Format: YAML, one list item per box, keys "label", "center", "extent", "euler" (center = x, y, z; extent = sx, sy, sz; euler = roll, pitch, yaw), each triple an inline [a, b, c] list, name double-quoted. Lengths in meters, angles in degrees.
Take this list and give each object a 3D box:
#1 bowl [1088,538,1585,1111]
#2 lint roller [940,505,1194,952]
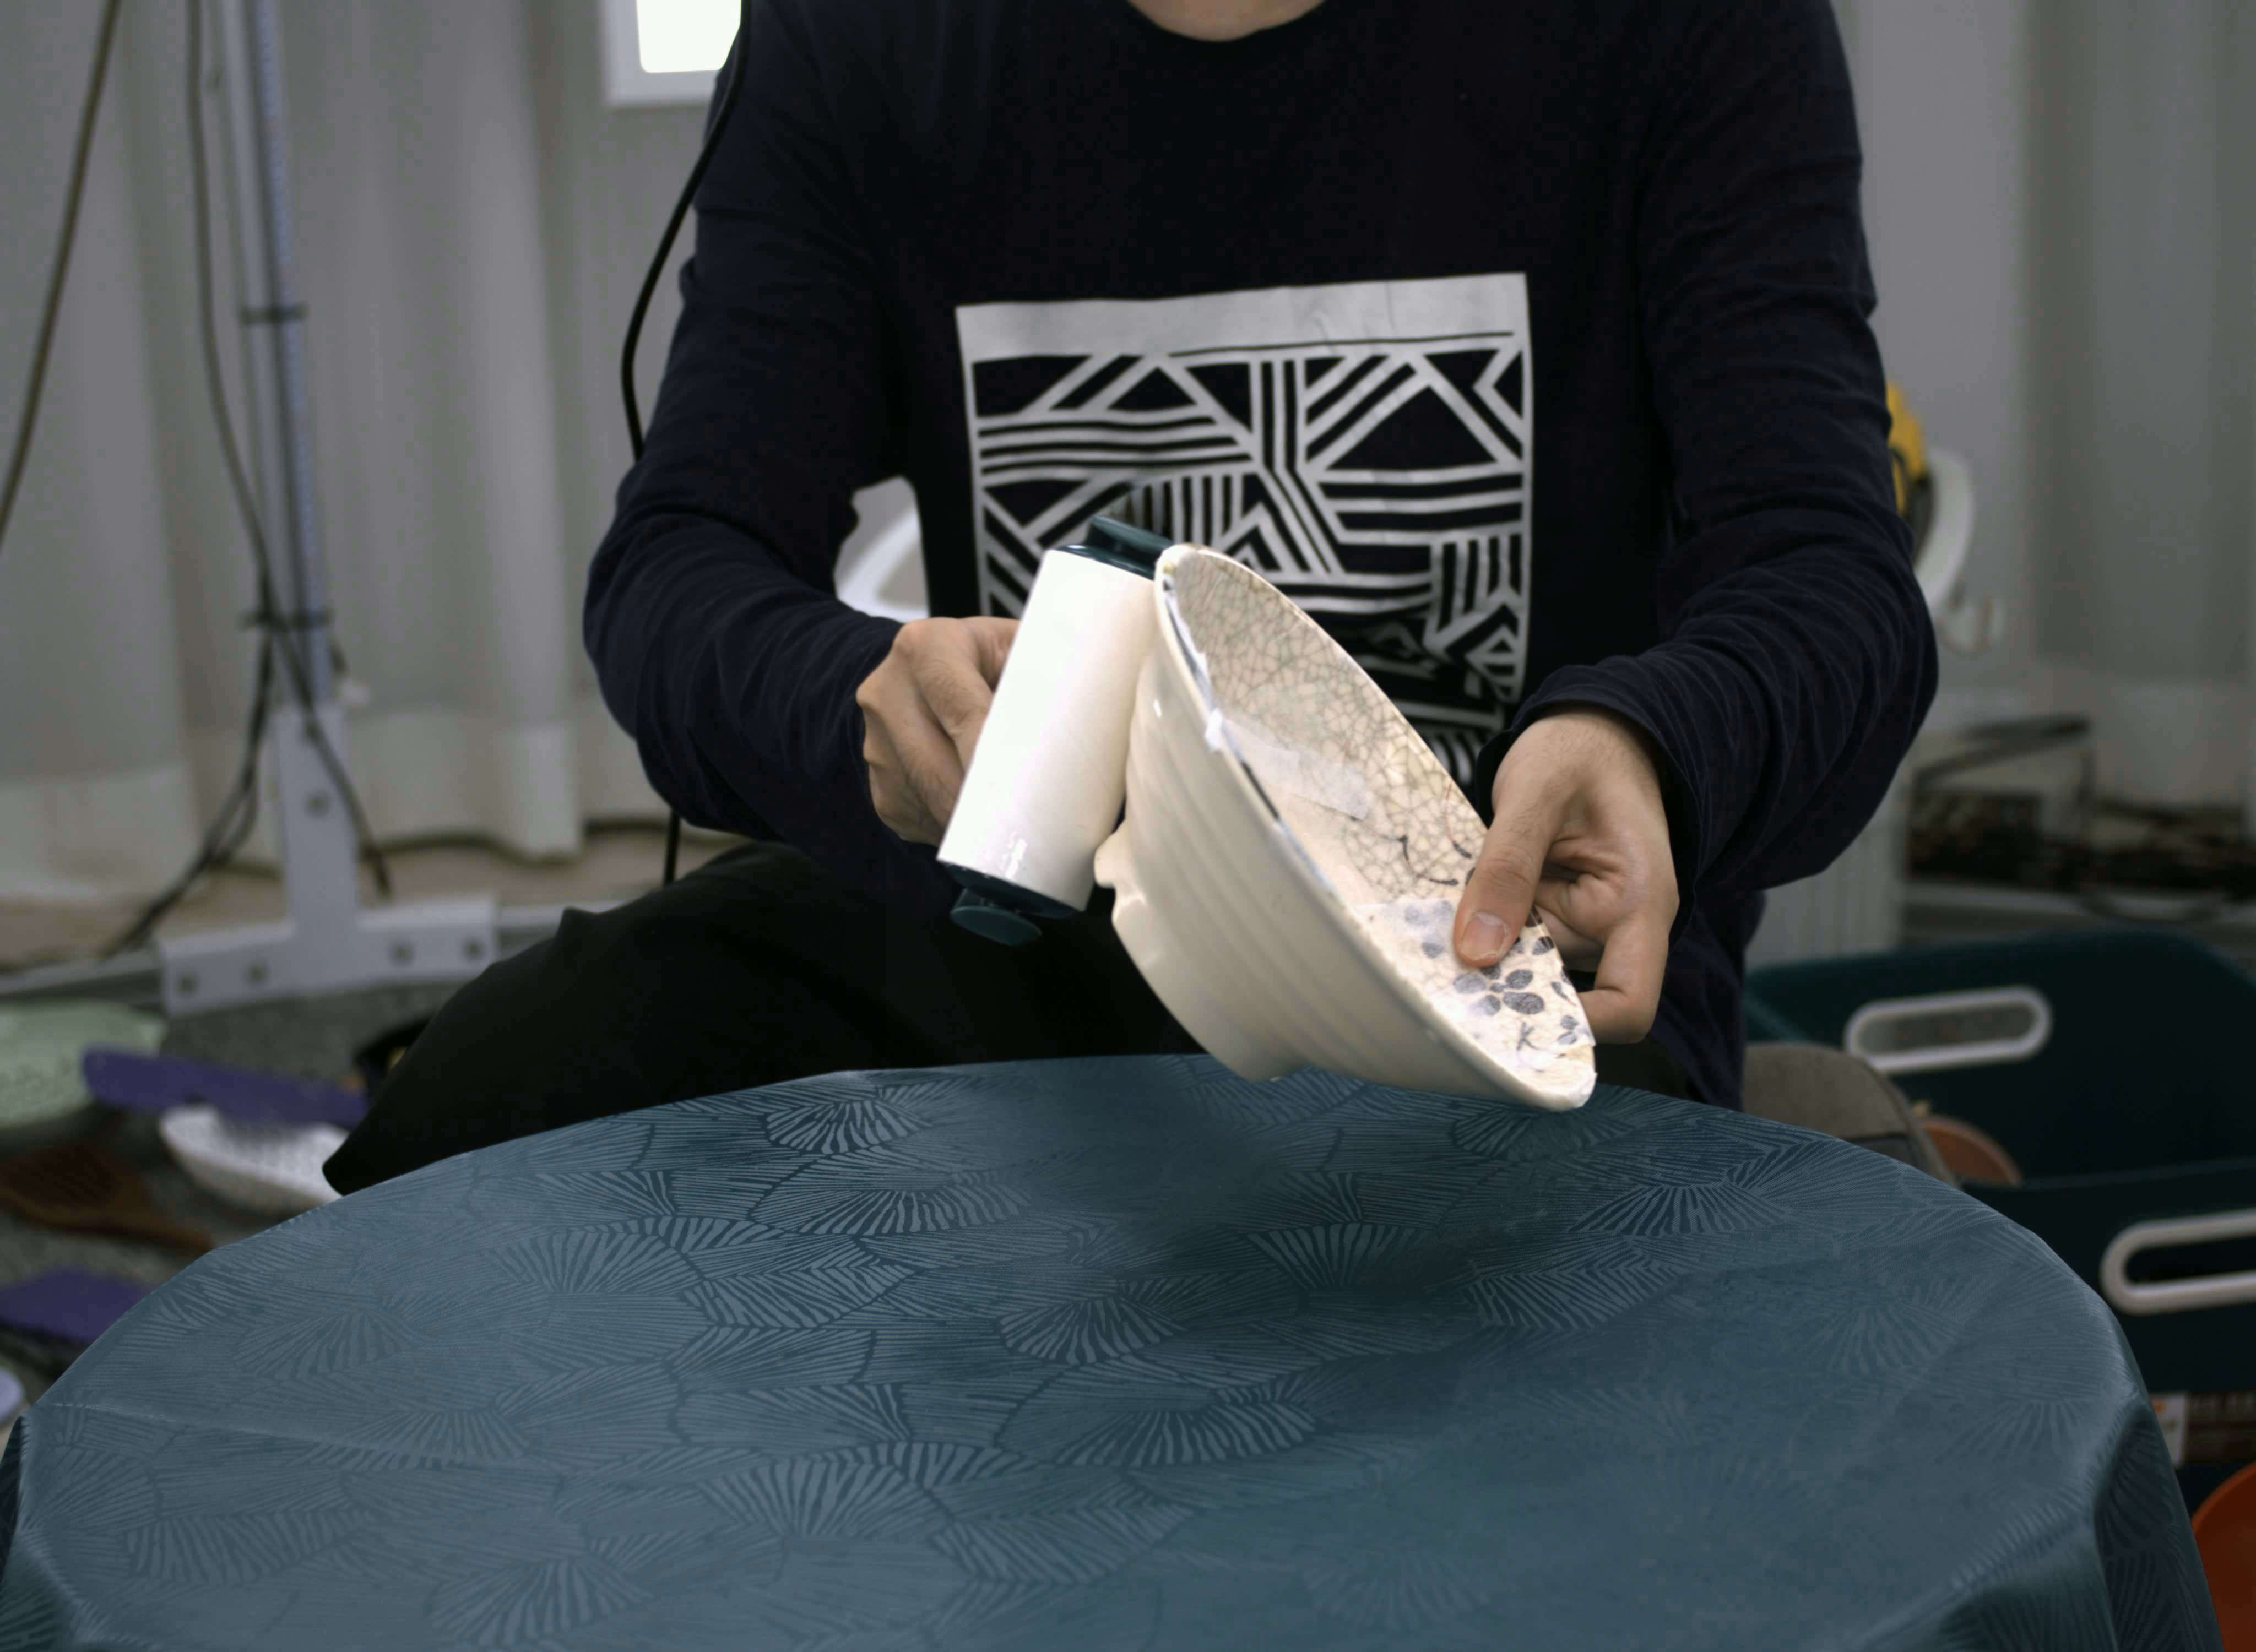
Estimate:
- label: "bowl"
  center: [0.045, 0.019, 1.612]
  extent: [0.078, 0.203, 0.205]
  euler: [-37, 9, 12]
- label: "lint roller"
  center: [-0.035, -0.029, 1.706]
  extent: [0.048, 0.135, 0.180]
  euler: [21, -5, -15]
